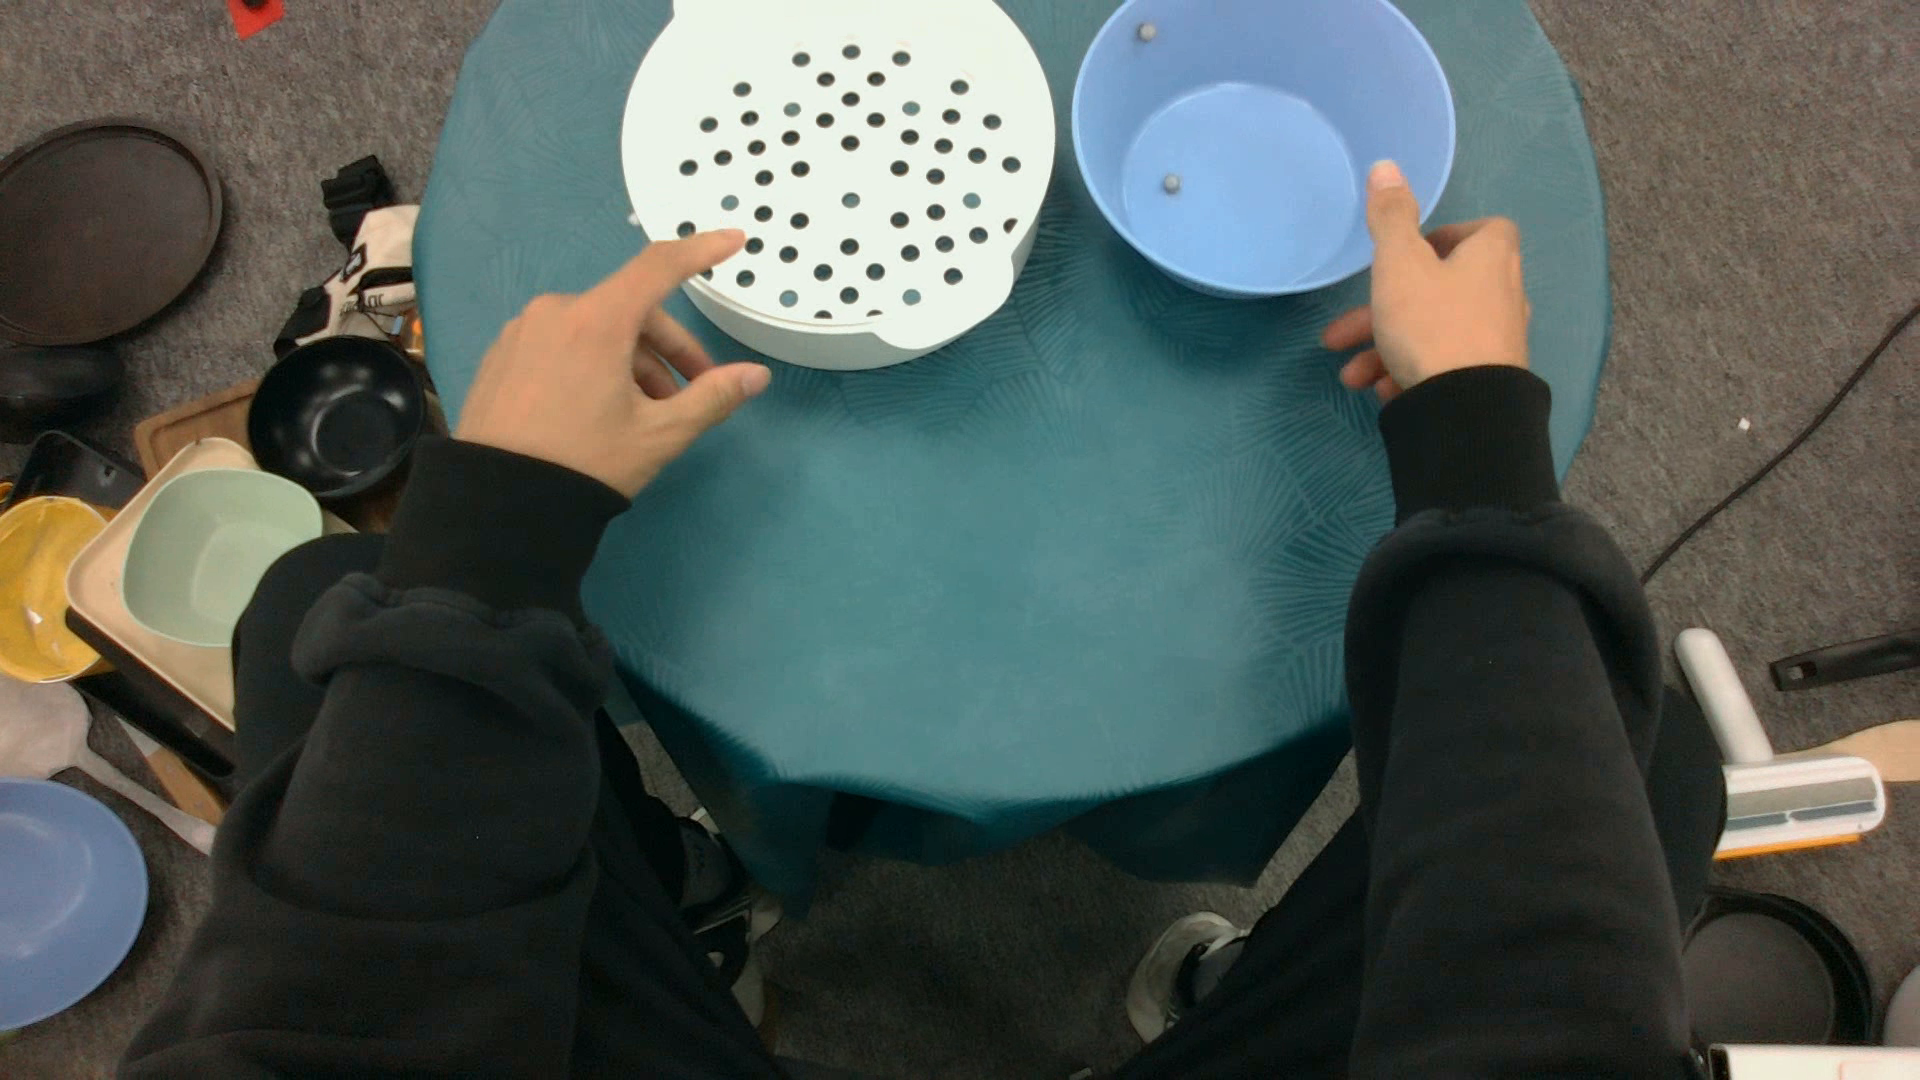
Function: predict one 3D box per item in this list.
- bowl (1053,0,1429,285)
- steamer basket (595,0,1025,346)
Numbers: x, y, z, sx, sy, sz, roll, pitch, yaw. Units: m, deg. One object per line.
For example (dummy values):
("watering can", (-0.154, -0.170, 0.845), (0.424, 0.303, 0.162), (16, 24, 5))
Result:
("bowl", (0.131, -0.192, 0.671), (0.176, 0.070, 0.176), (0, 73, -1))
("steamer basket", (-0.070, -0.192, 0.670), (0.202, 0.069, 0.231), (-30, 74, -9))
